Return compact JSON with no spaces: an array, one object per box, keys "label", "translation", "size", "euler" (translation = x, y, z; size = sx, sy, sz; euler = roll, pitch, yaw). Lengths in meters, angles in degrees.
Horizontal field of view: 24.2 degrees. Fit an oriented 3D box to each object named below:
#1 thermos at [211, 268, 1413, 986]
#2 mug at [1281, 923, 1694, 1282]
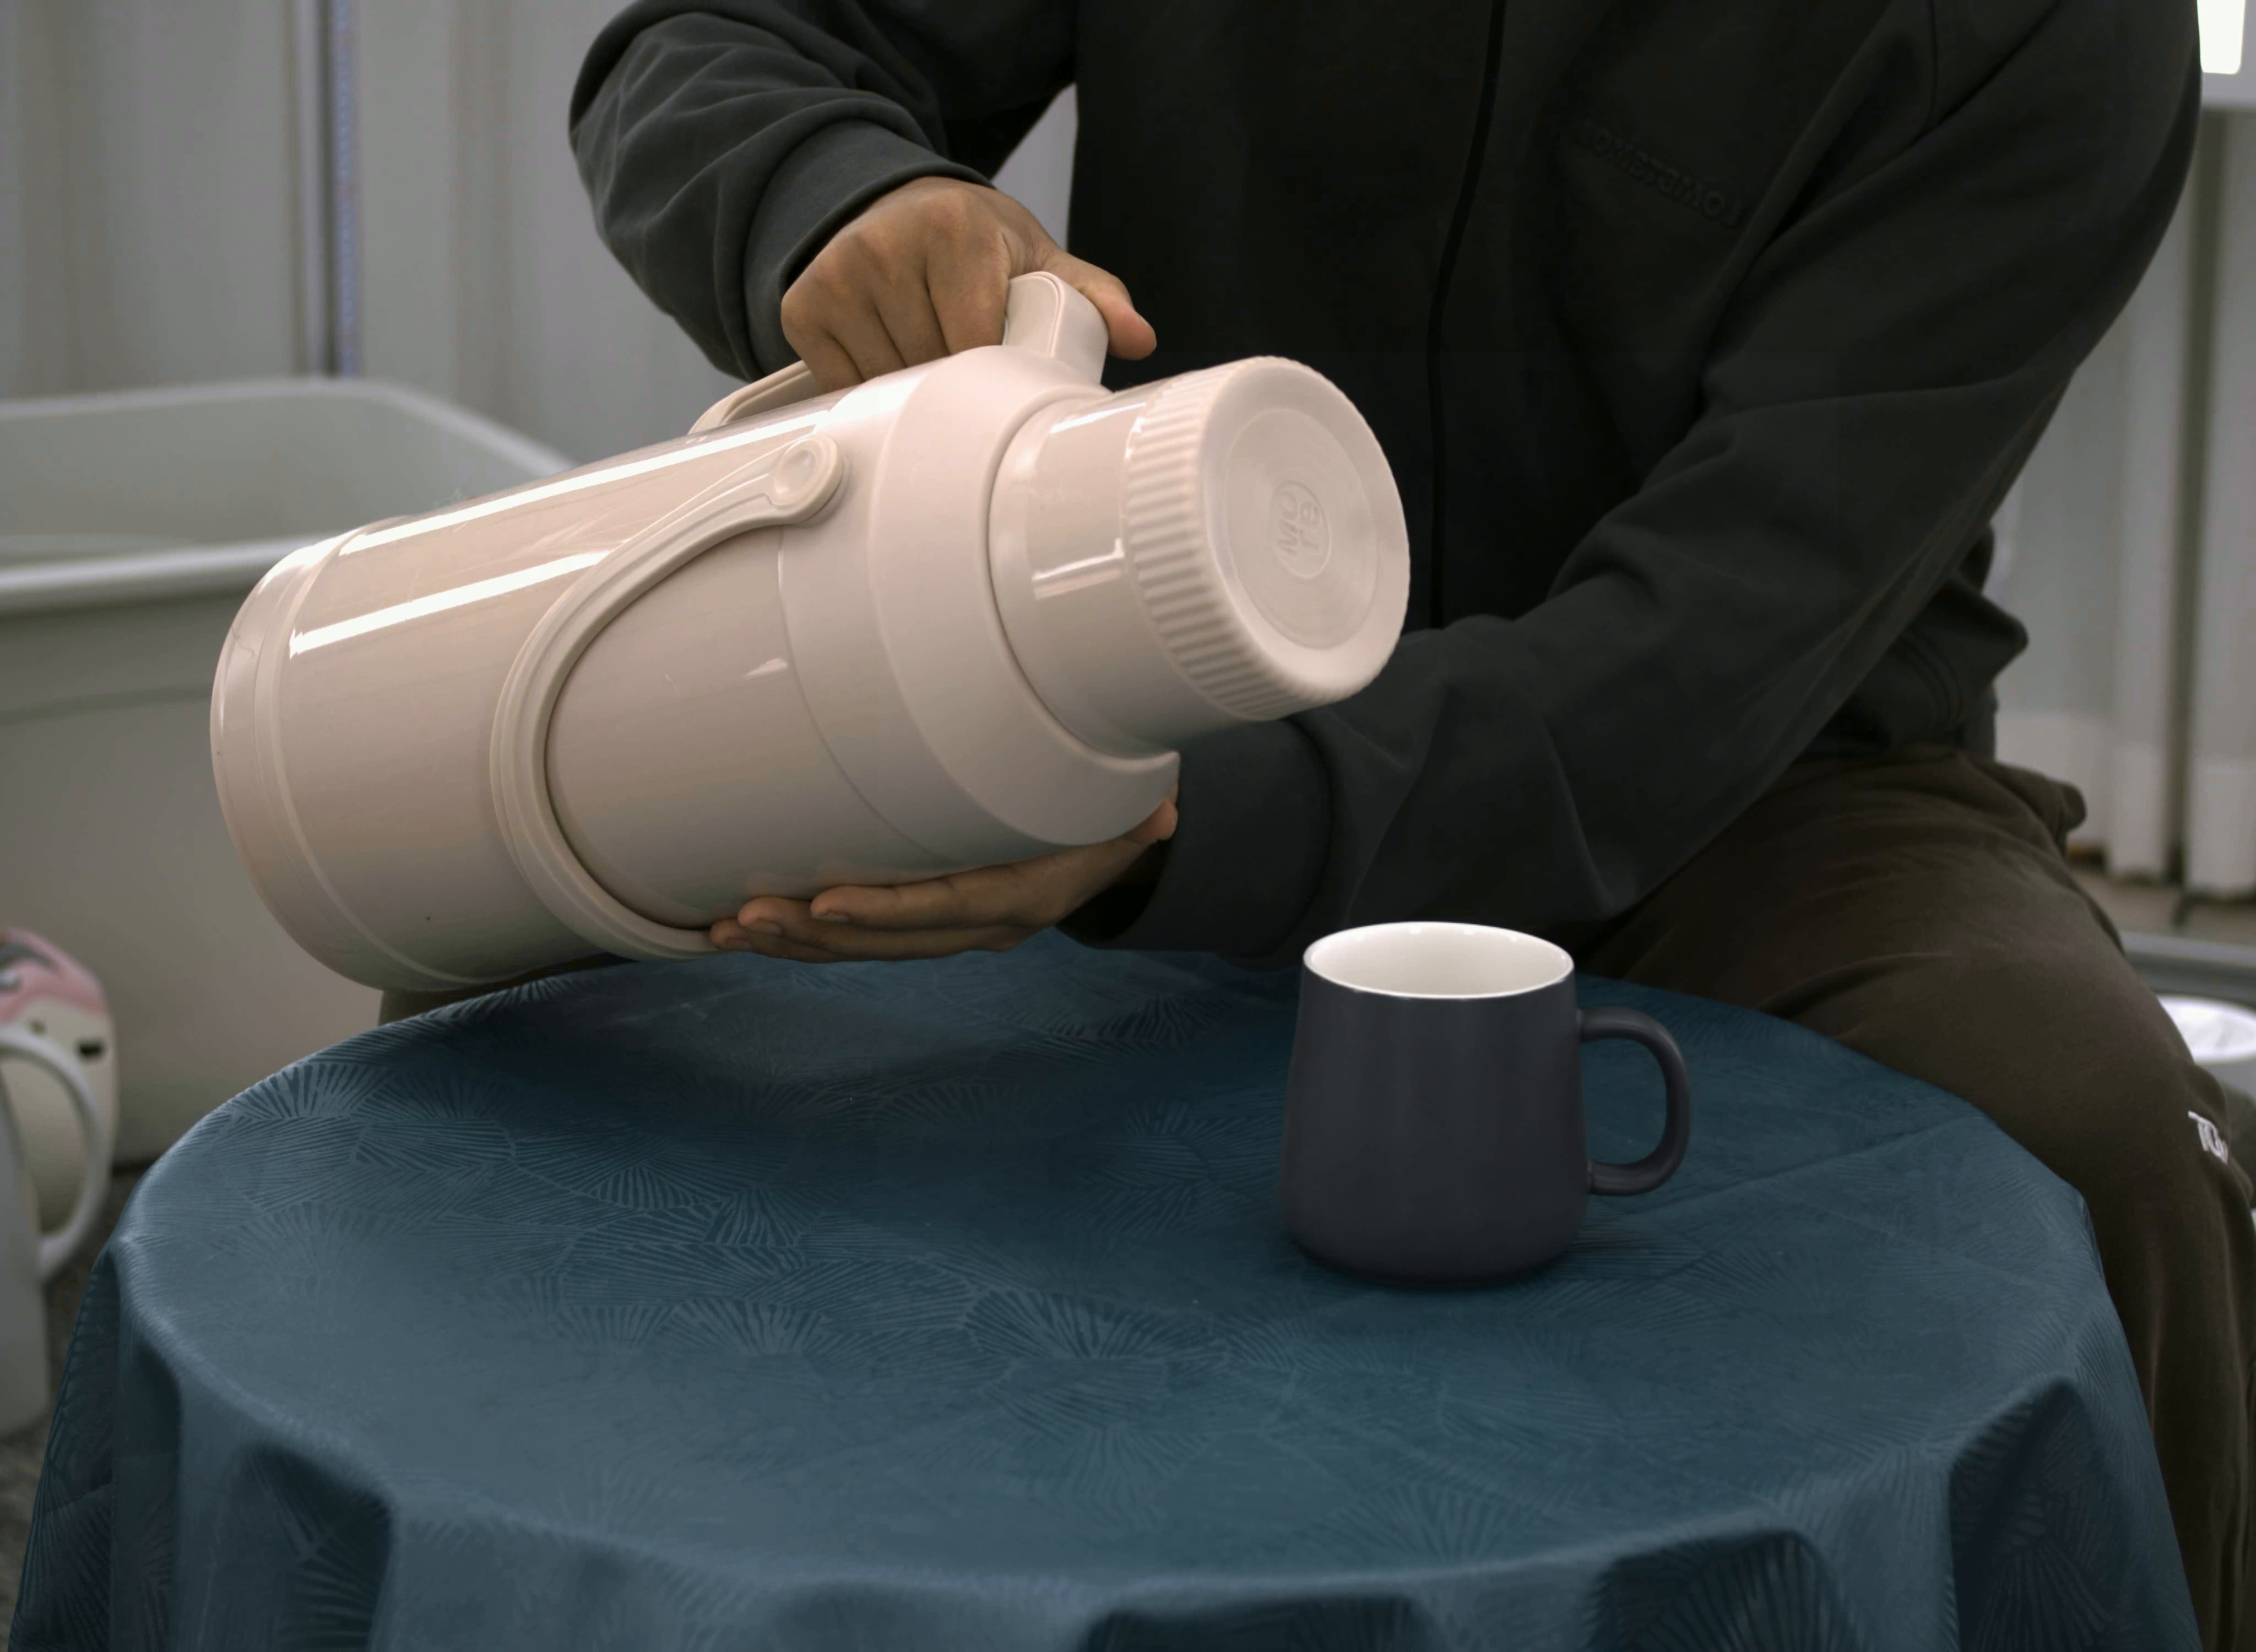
[{"label":"thermos","translation":[-0.097,-0.068,1.668],"size":[0.402,0.206,0.177],"euler":[-13,-34,39]},{"label":"mug","translation":[0.107,0.082,1.570],"size":[0.123,0.090,0.093],"euler":[1,16,2]}]
